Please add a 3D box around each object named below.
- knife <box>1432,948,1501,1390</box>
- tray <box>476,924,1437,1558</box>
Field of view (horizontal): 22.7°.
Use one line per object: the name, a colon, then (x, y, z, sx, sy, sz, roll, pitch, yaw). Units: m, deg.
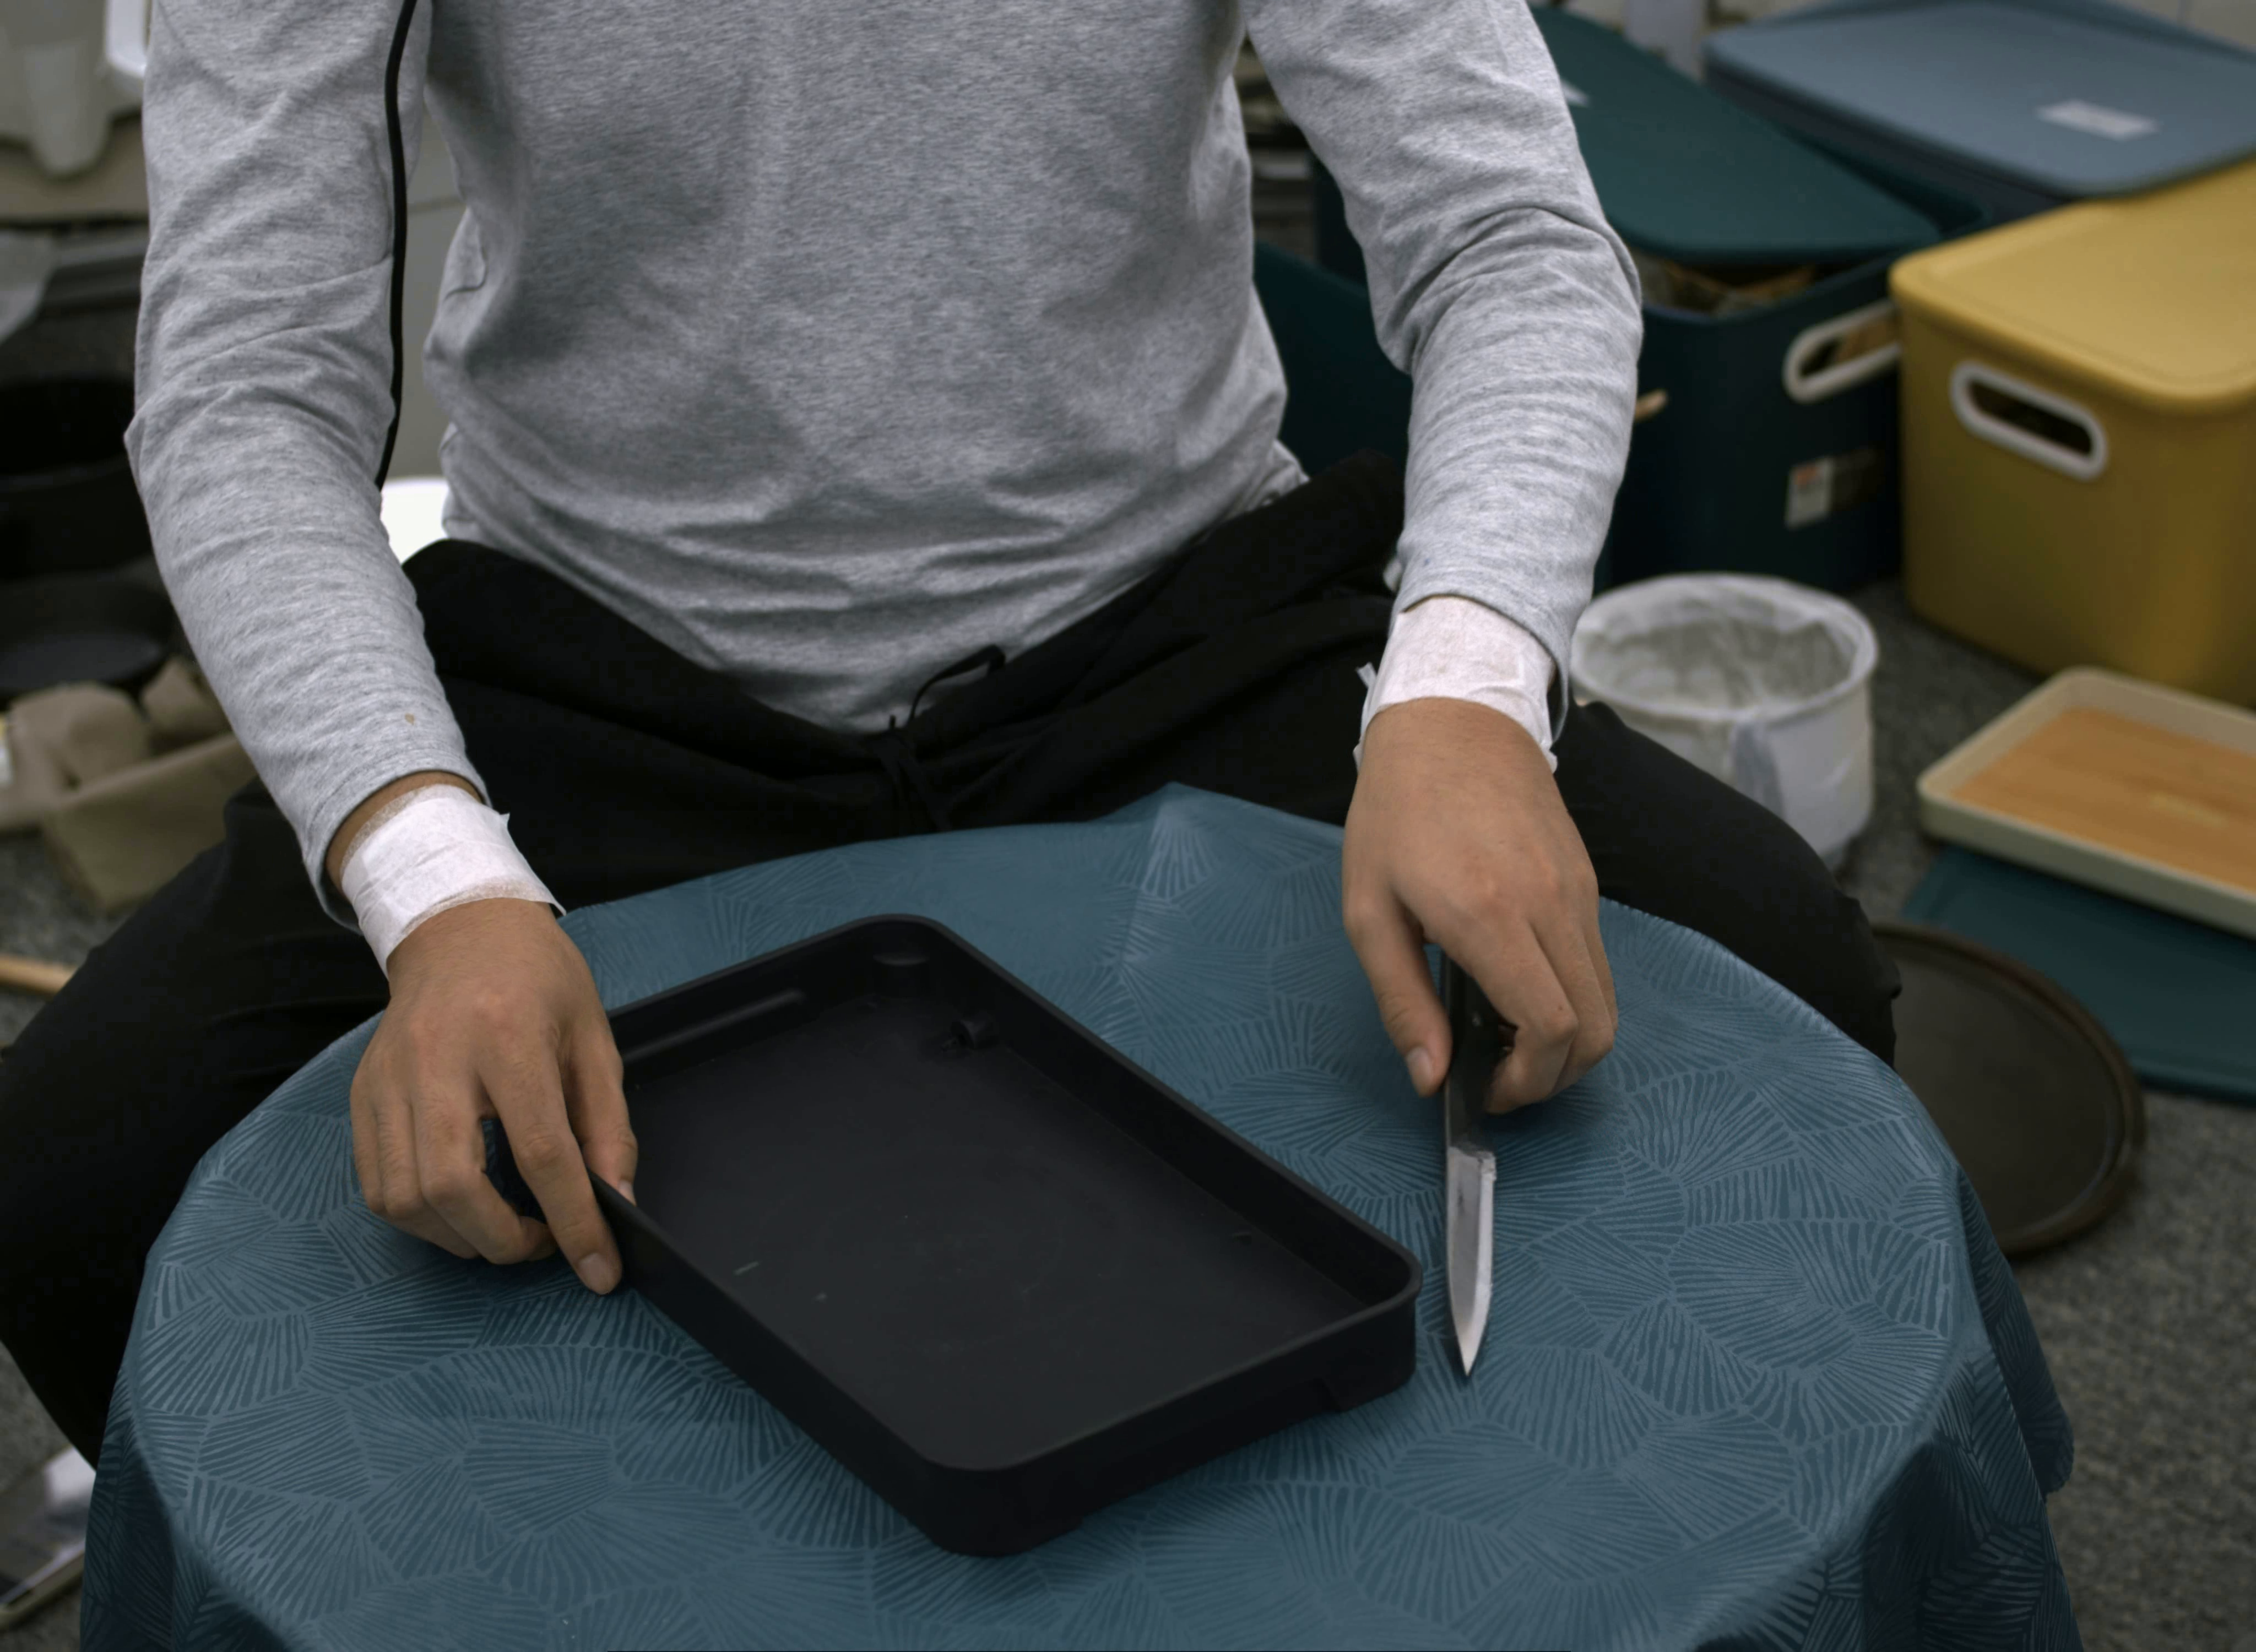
knife: (0.111, 0.109, 1.849, 0.024, 0.016, 0.242, 33, 28, -17)
tray: (-0.060, 0.128, 1.817, 0.186, 0.036, 0.318, -20, 31, -31)
